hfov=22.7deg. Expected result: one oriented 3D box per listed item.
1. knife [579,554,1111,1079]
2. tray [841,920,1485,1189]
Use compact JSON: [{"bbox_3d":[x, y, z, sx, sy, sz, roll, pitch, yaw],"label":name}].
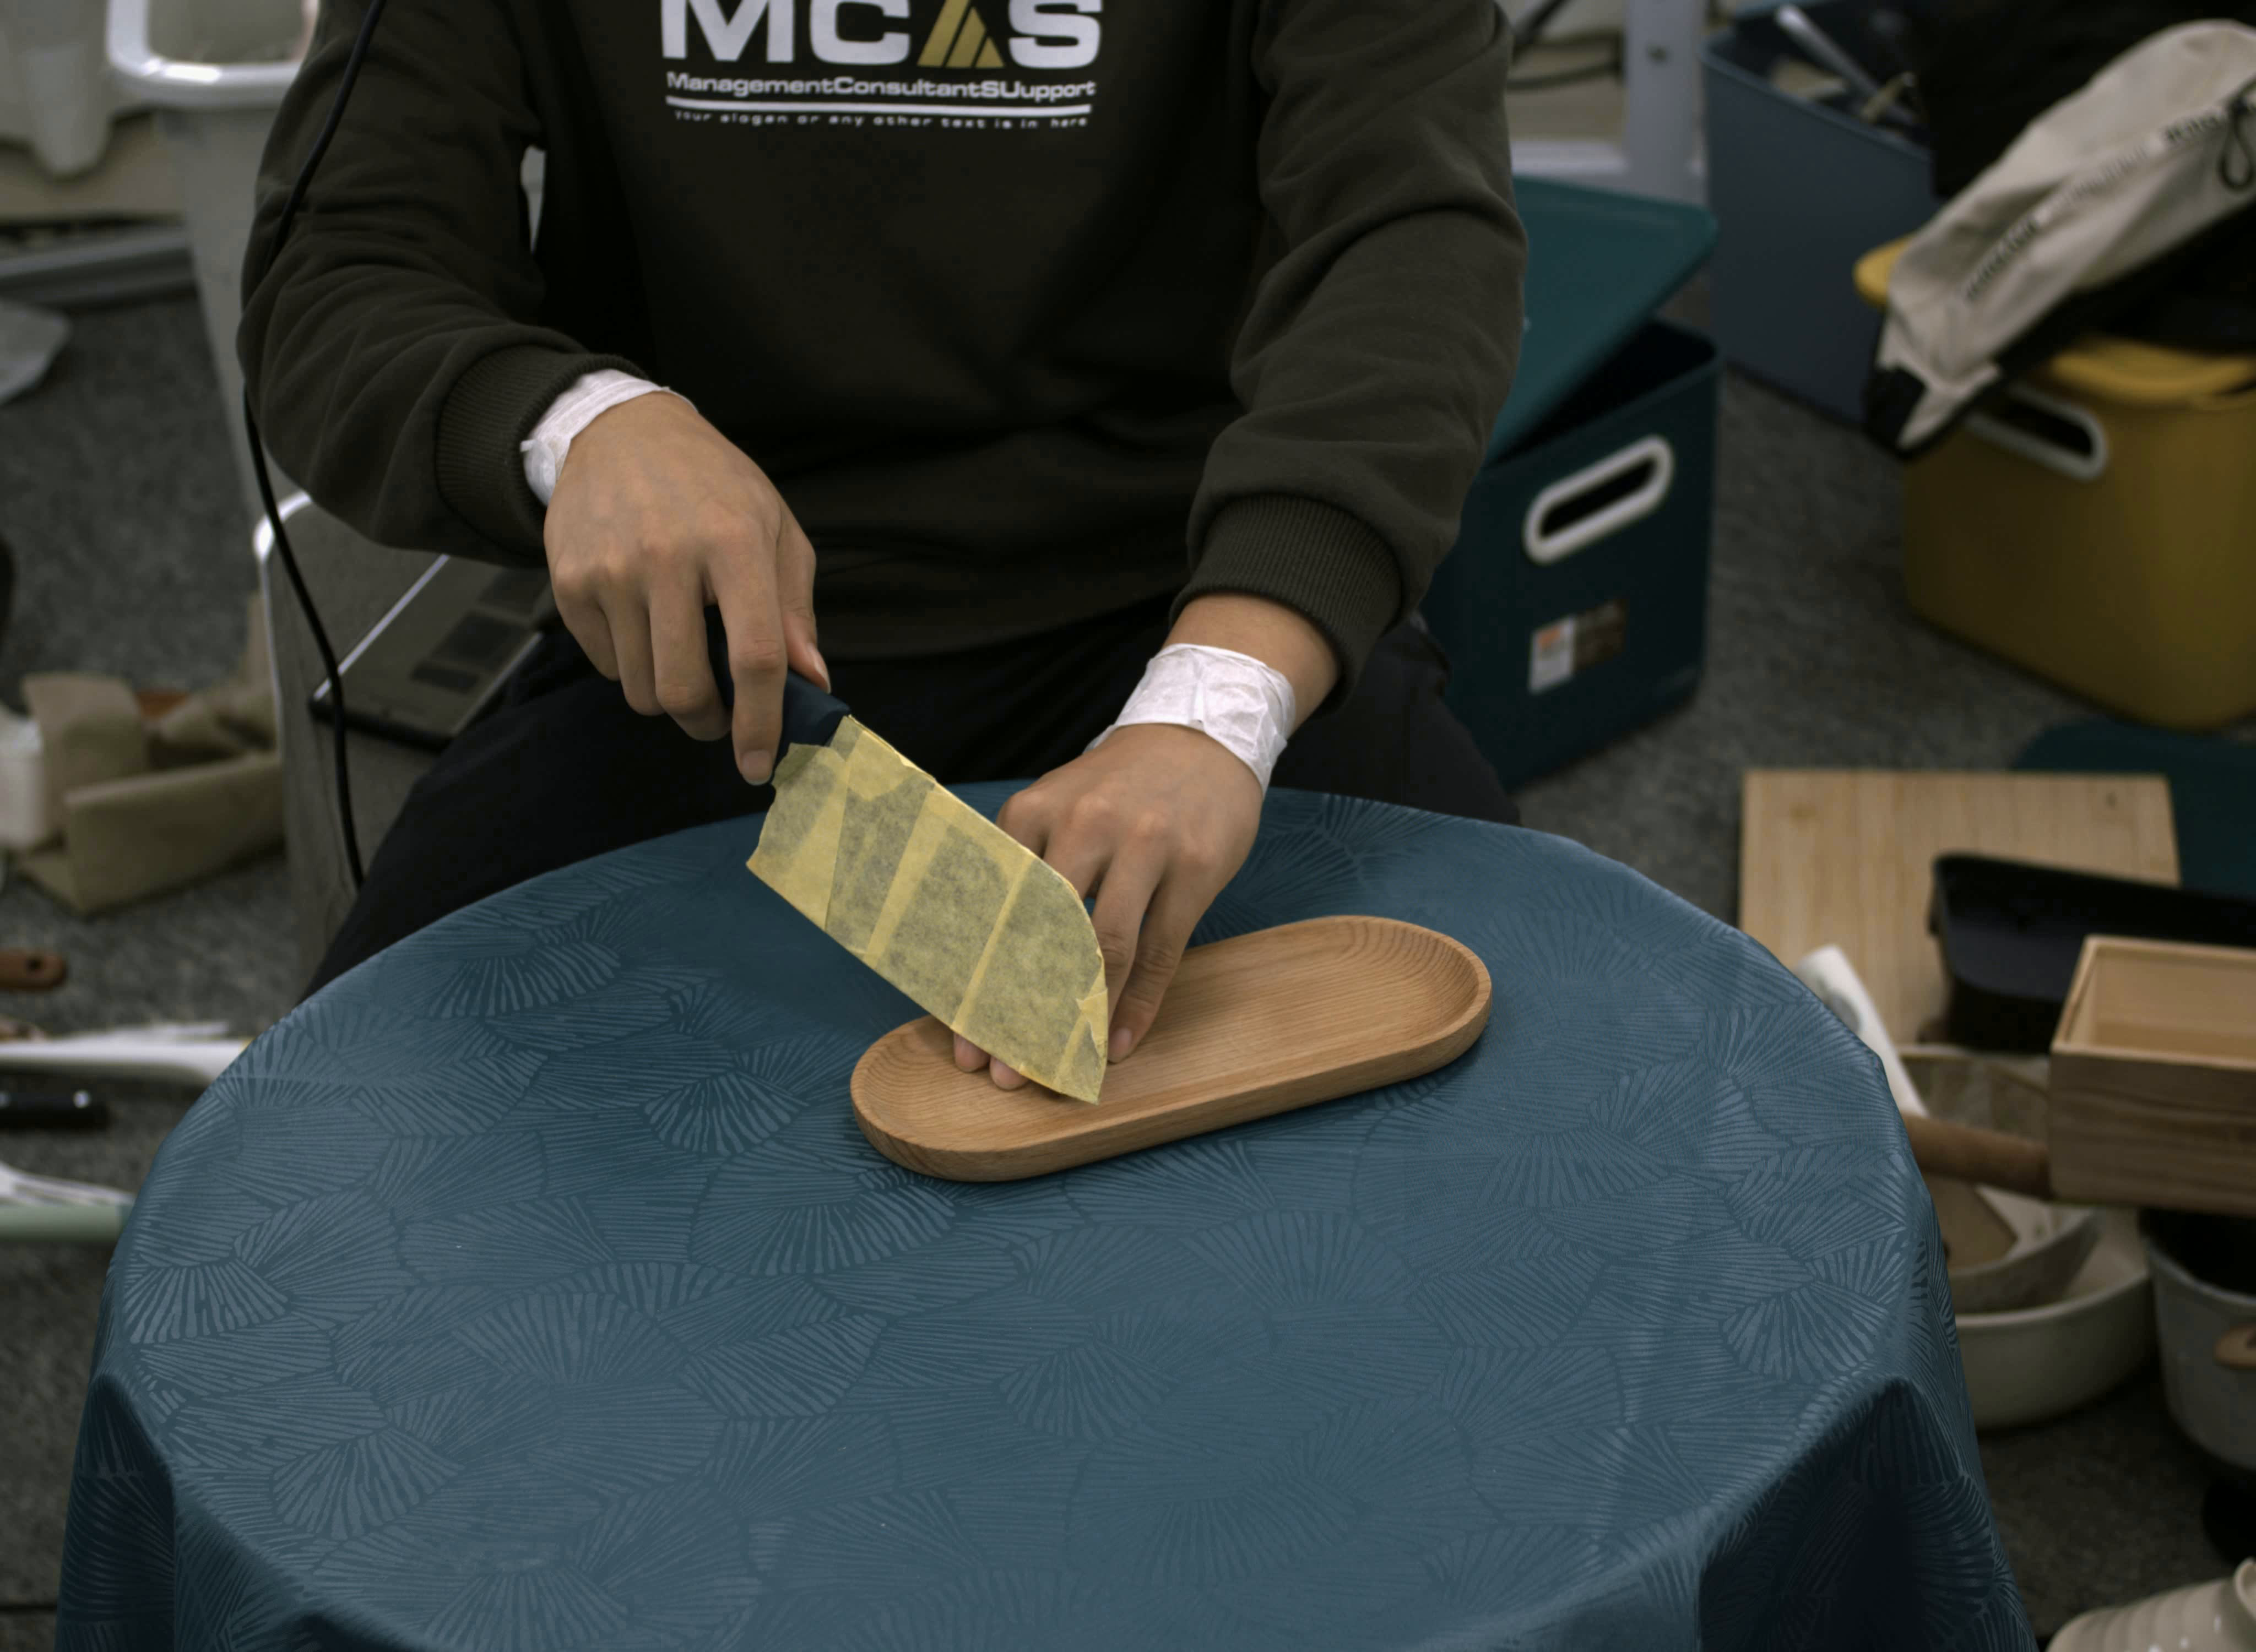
[{"bbox_3d":[-0.101,-0.005,1.953,0.291,0.080,0.027,40,23,31],"label":"knife"},{"bbox_3d":[0.013,0.078,1.927,0.232,0.020,0.102,-15,28,-19],"label":"tray"}]
